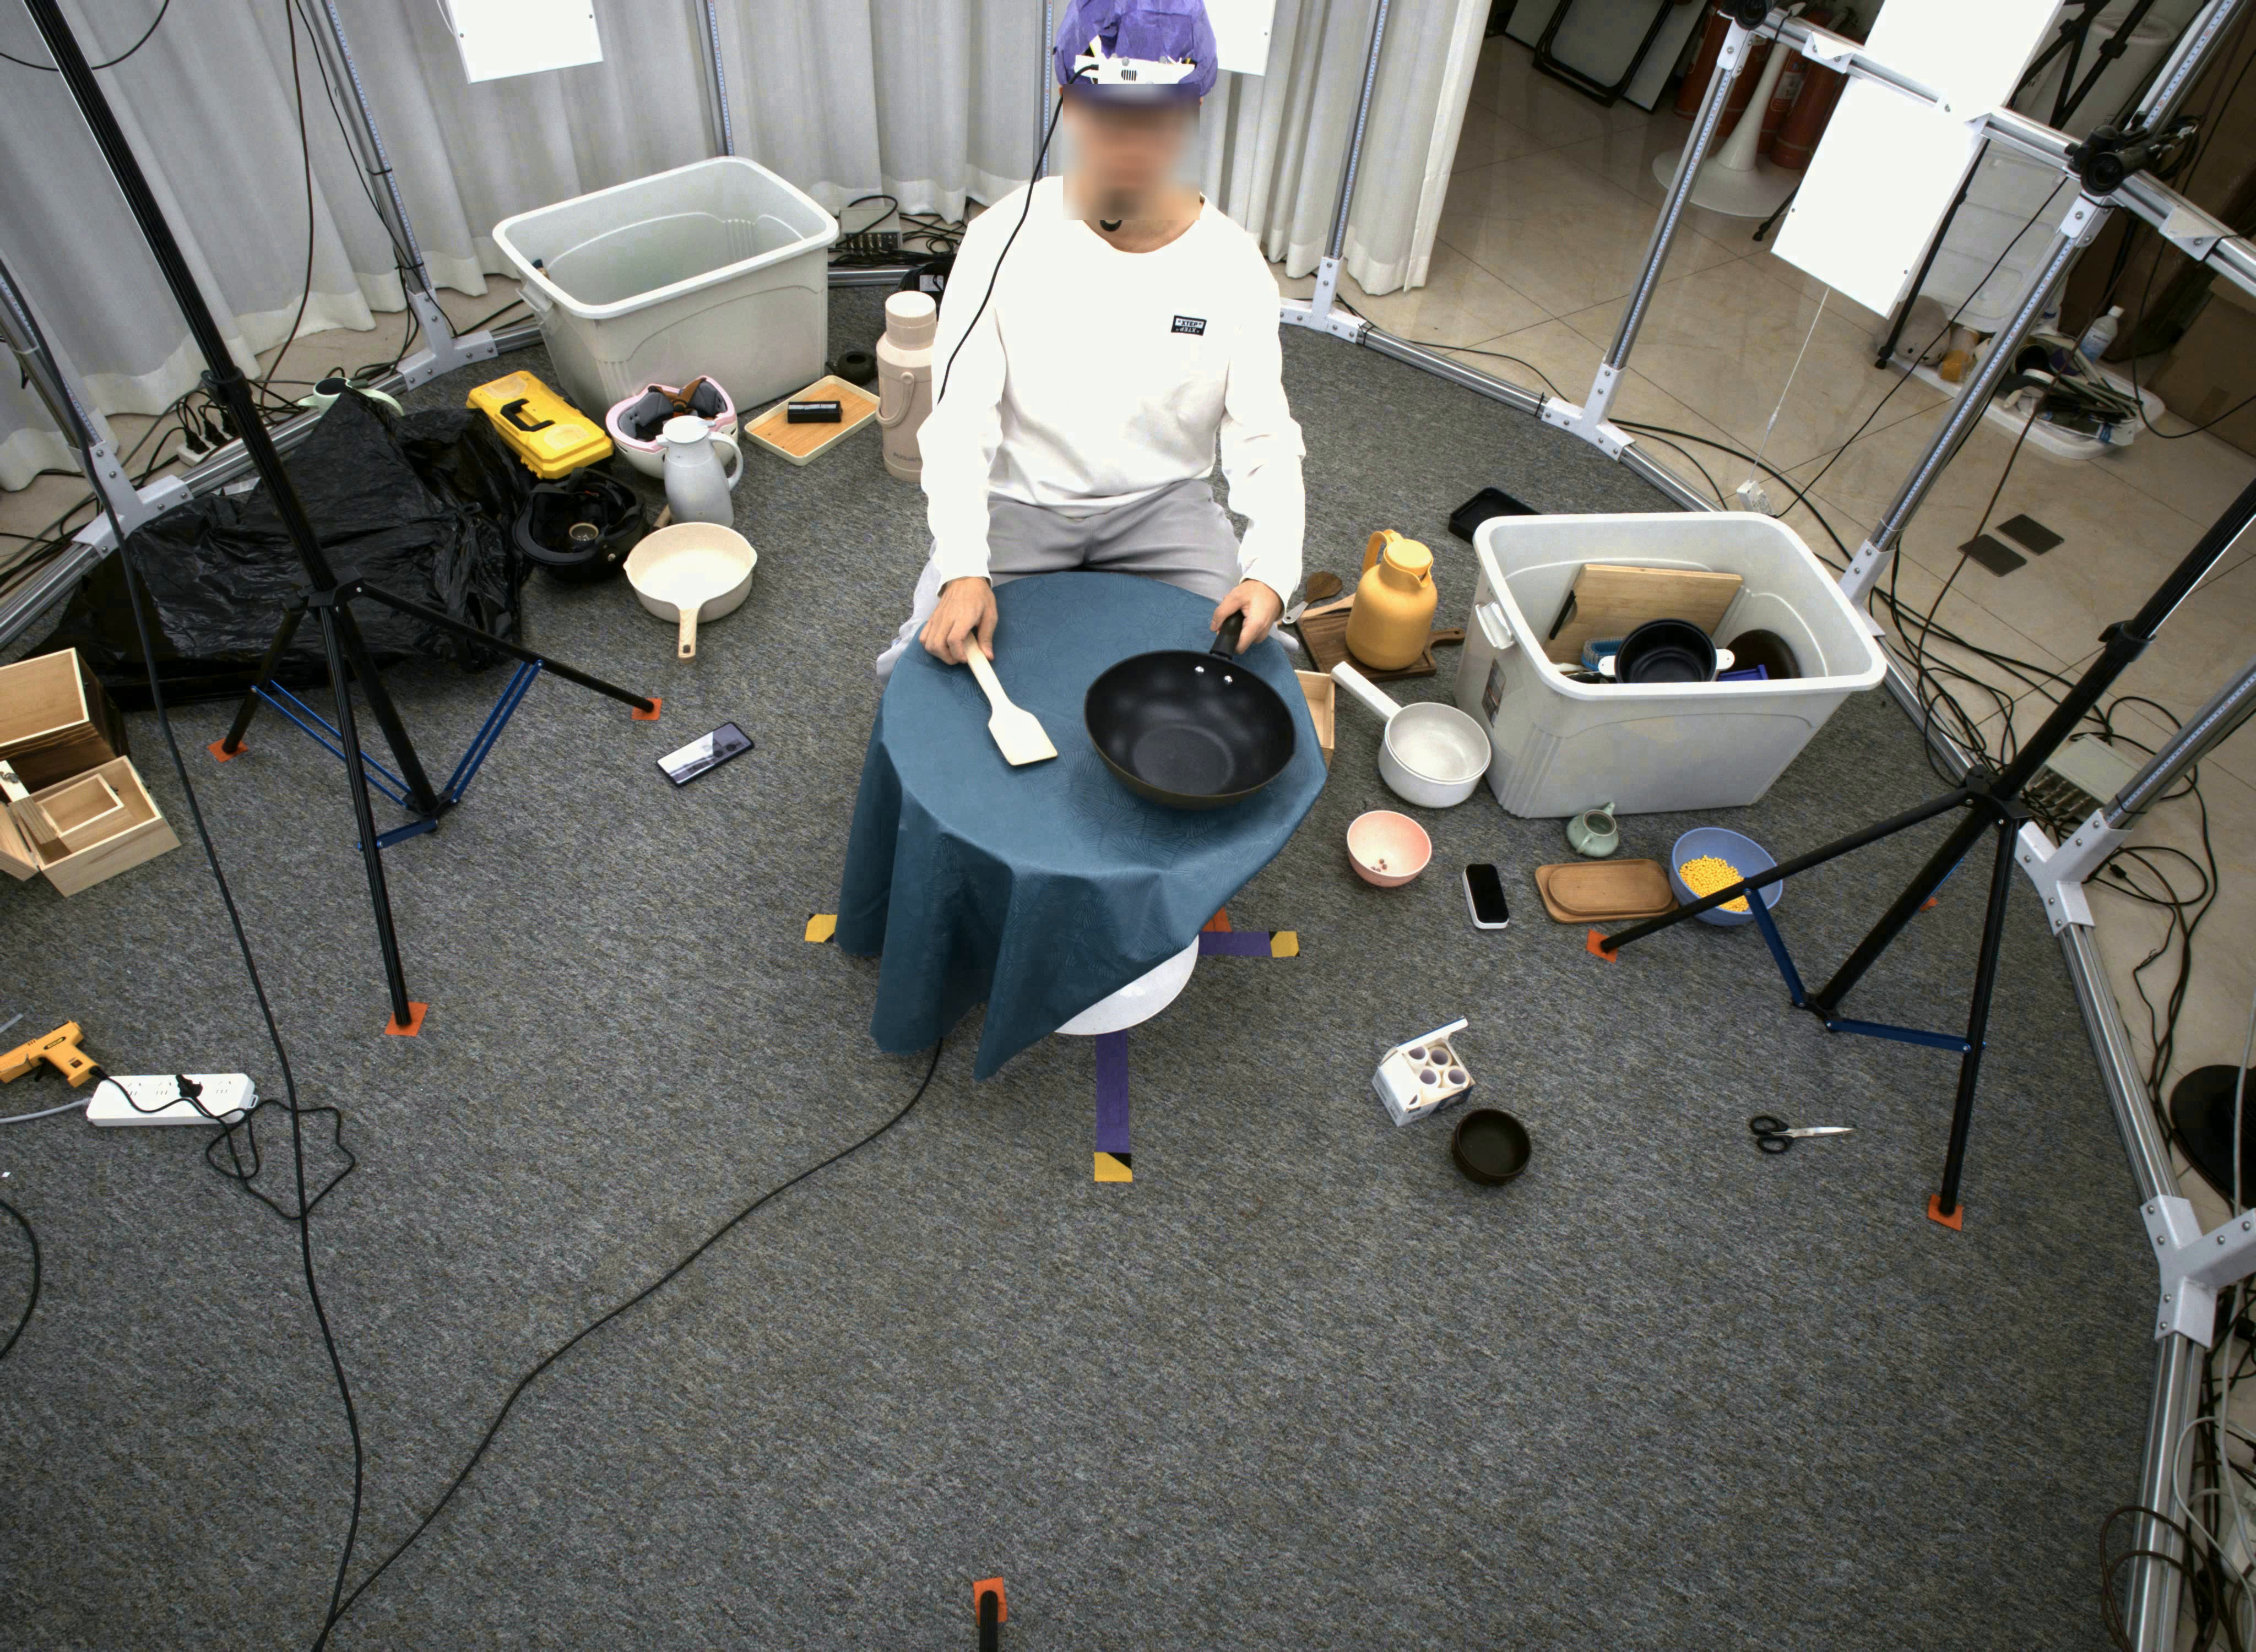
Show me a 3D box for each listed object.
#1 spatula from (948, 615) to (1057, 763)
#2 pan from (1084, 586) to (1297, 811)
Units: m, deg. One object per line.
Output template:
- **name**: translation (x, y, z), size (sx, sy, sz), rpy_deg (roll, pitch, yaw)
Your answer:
- **spatula**: translation (-0.190, -0.197, 1.803), size (0.072, 0.010, 0.299), rpy_deg (-14, 54, -24)
- **pan**: translation (0.107, -0.177, 1.772), size (0.289, 0.085, 0.473), rpy_deg (18, 47, 8)
